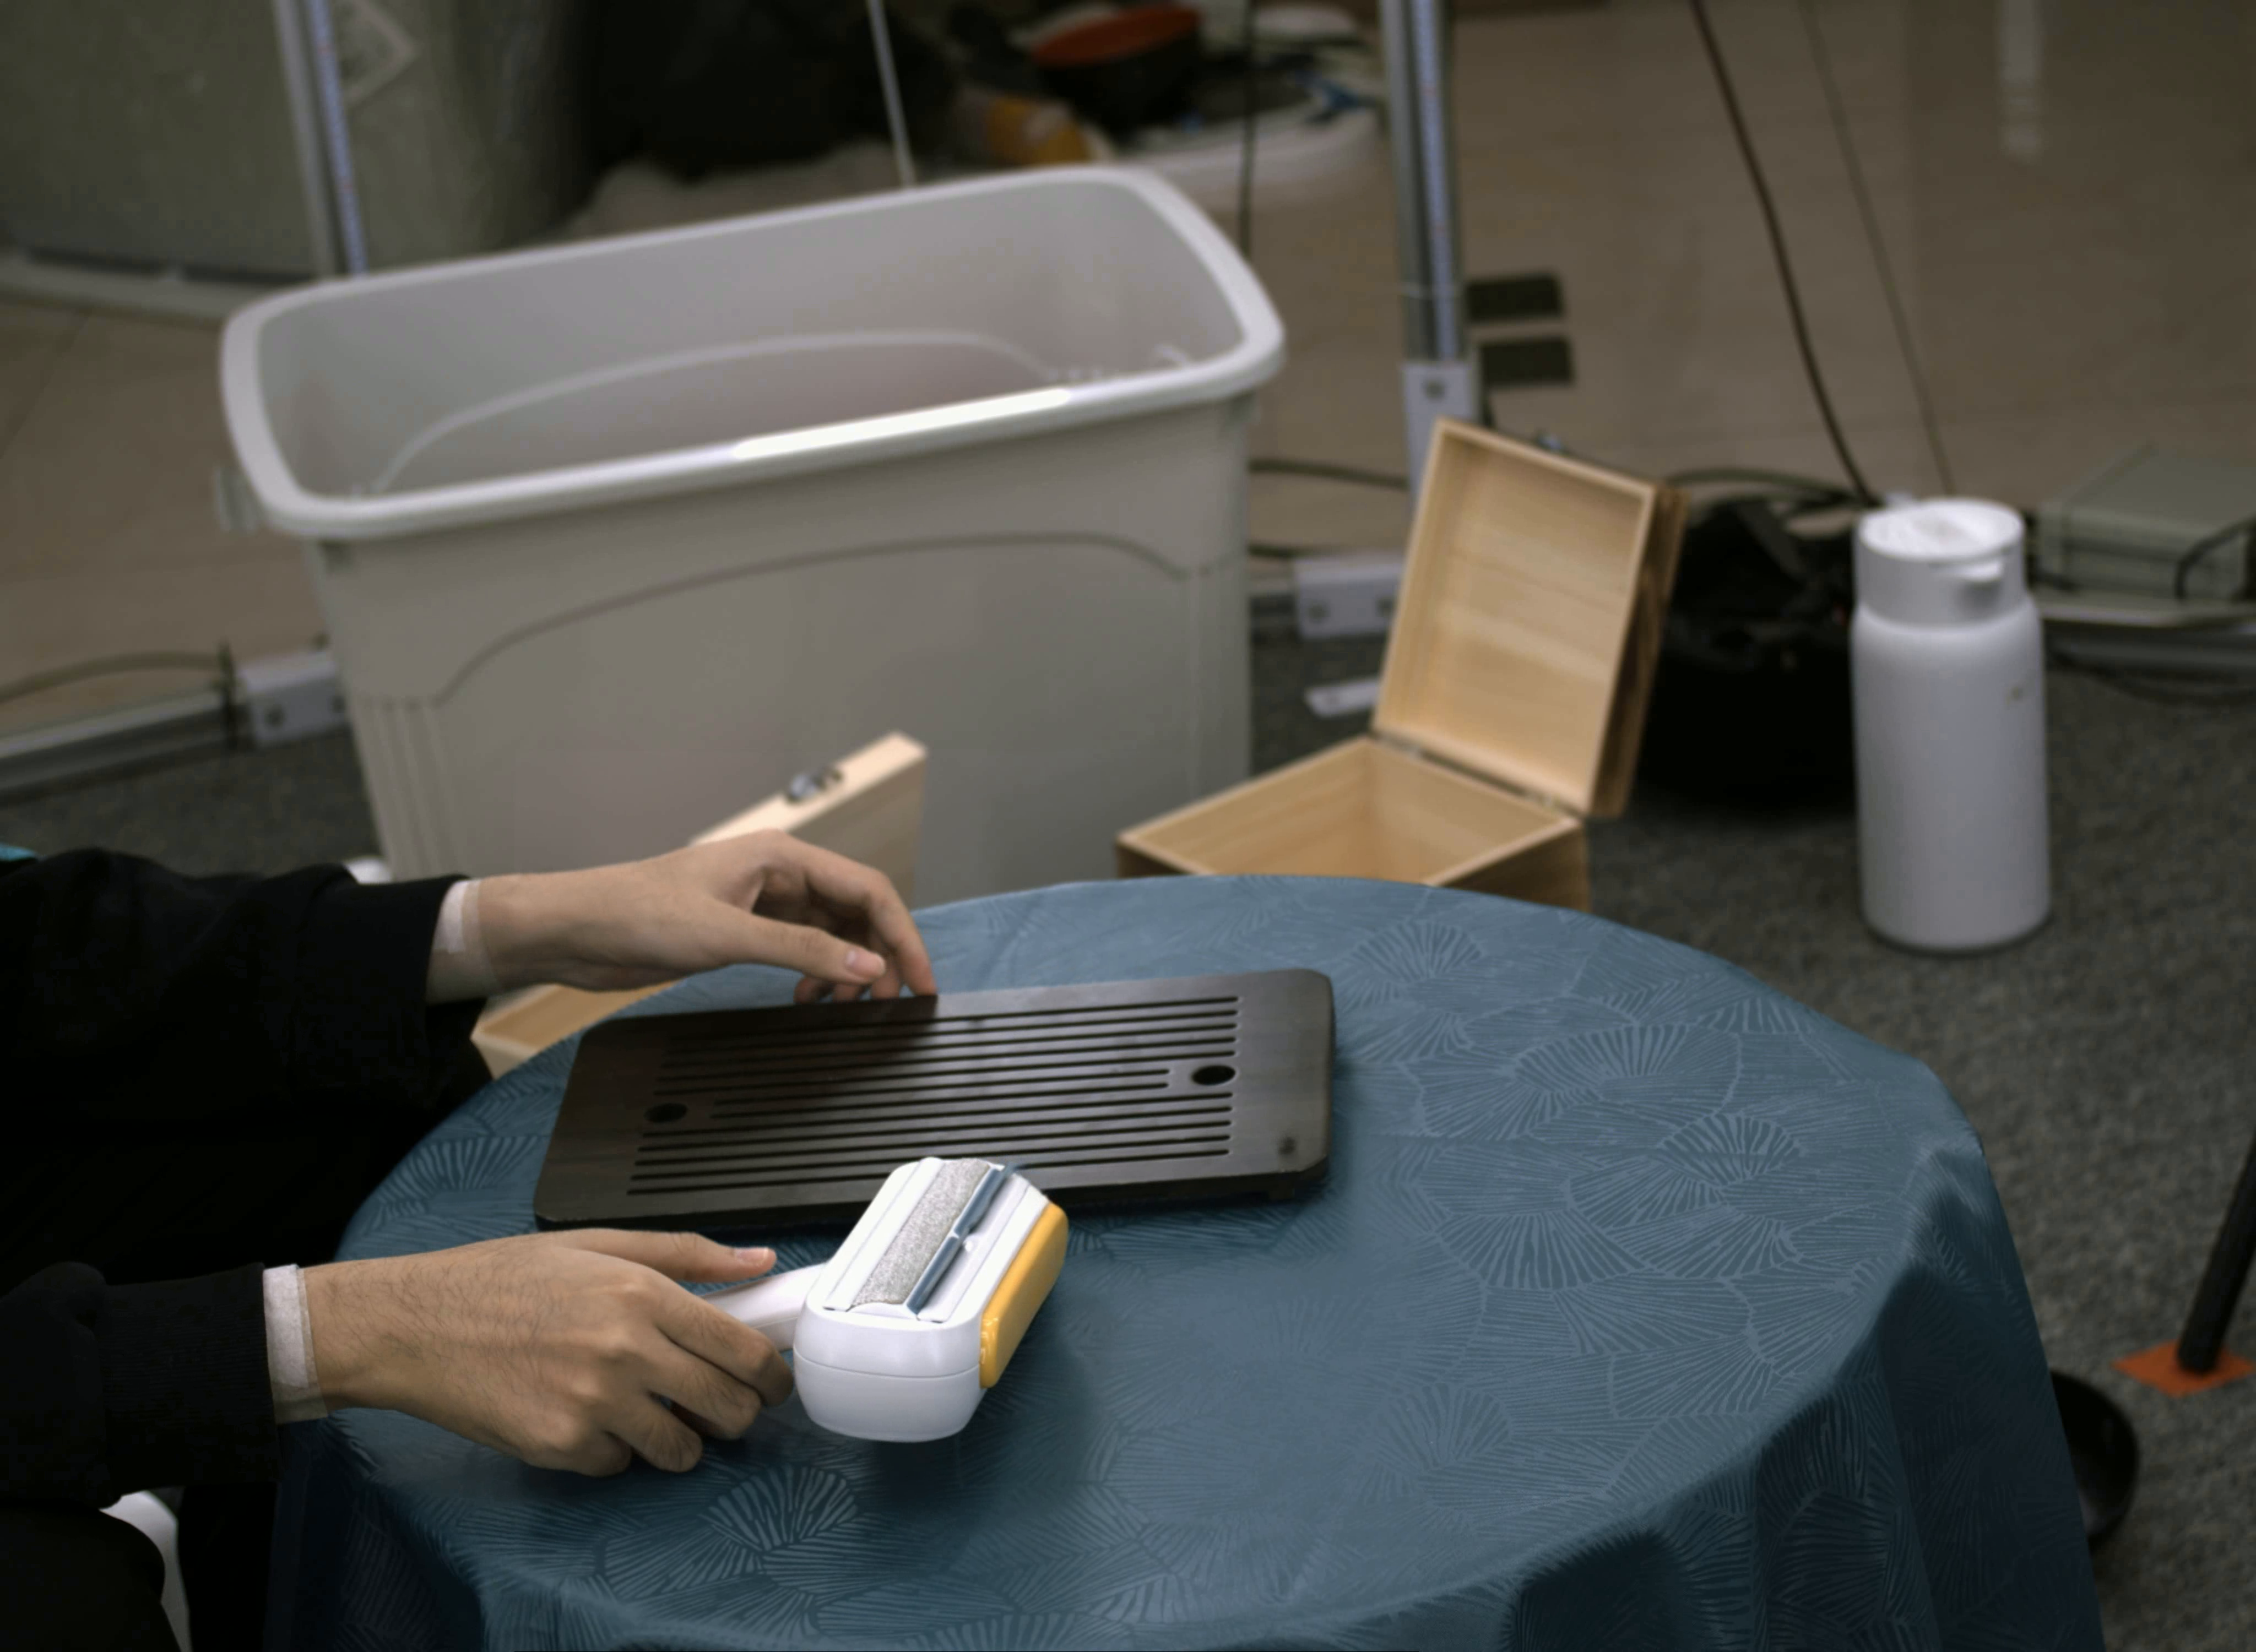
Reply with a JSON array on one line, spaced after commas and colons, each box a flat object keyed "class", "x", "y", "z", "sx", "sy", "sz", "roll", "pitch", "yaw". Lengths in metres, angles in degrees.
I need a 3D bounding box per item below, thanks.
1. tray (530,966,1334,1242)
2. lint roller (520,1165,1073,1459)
[{"class": "tray", "x": -0.072, "y": 0.109, "z": 2.205, "sx": 0.305, "sy": 0.019, "sz": 0.167, "roll": -4, "pitch": 25, "yaw": 5}, {"class": "lint roller", "x": -0.127, "y": 0.176, "z": 2.015, "sx": 0.192, "sy": 0.075, "sz": 0.190, "roll": -2, "pitch": 18, "yaw": 14}]
